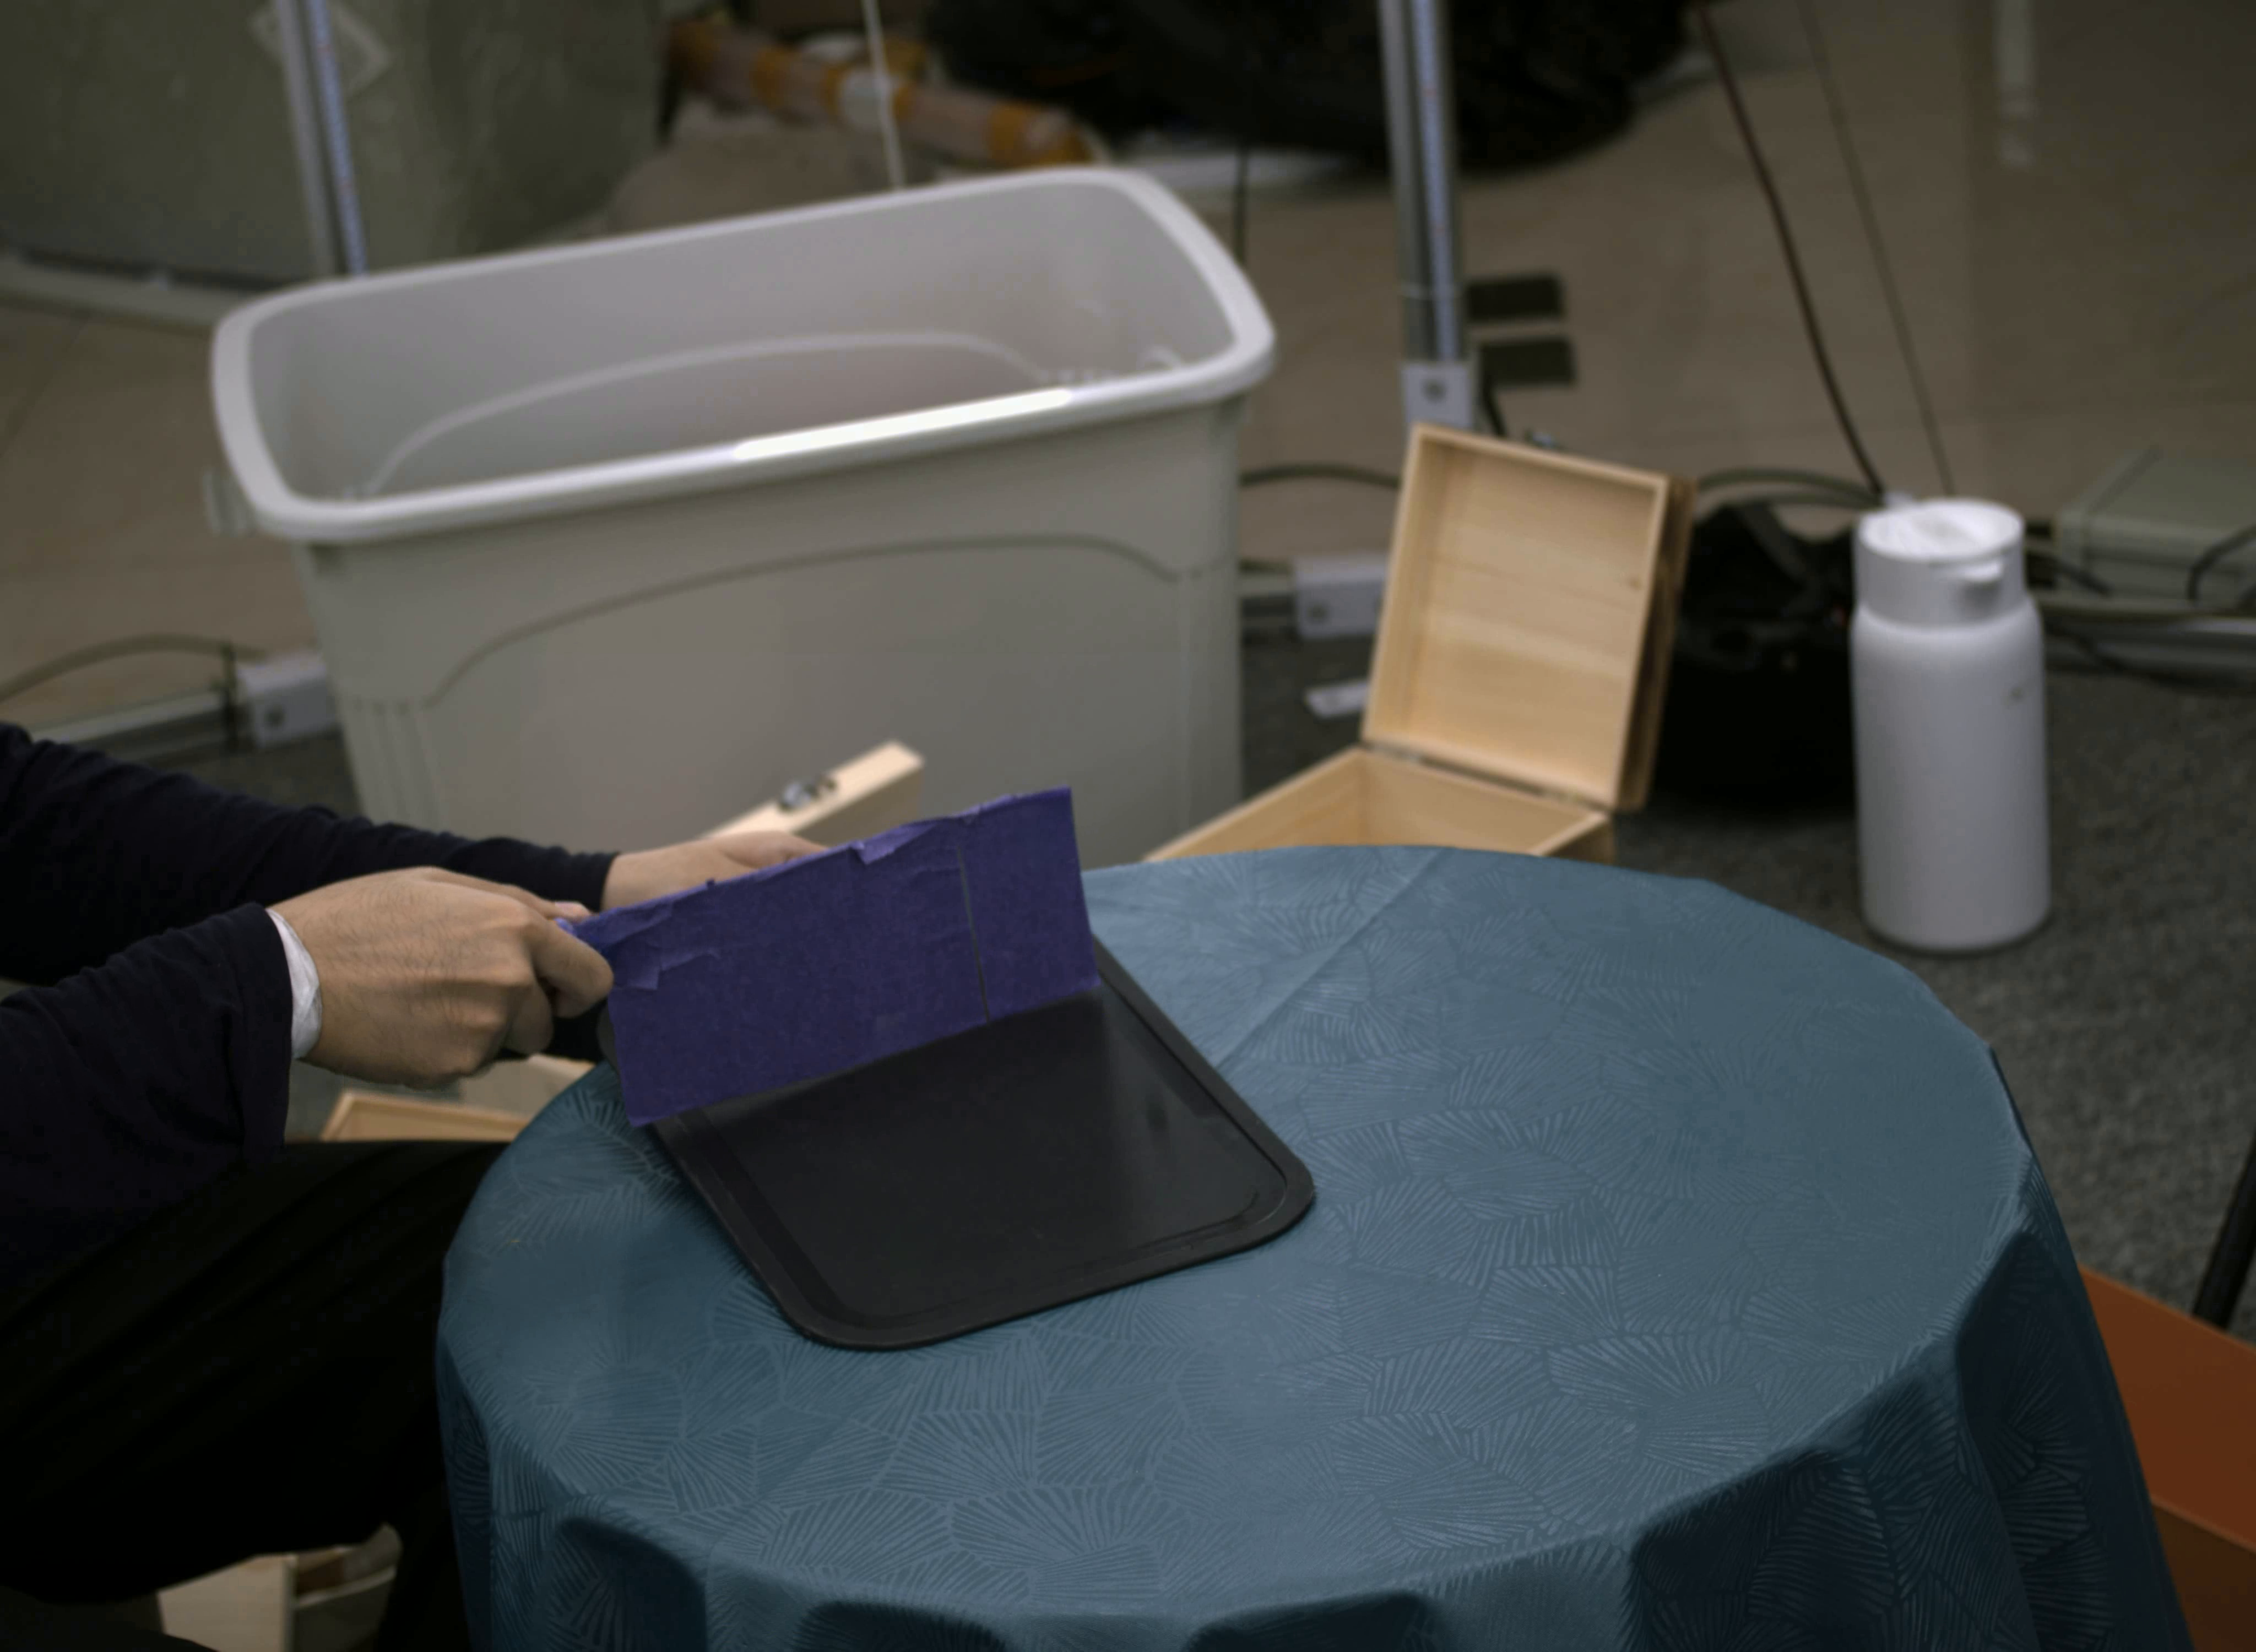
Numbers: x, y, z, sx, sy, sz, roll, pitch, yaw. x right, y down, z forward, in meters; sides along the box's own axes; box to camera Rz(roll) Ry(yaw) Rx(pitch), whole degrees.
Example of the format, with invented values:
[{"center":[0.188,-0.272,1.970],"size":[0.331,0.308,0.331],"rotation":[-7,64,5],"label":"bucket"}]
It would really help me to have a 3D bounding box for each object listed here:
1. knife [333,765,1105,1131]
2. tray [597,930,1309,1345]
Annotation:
[{"center":[-0.150,0.064,2.194],"size":[0.314,0.105,0.032],"rotation":[-16,21,-21],"label":"knife"},{"center":[-0.077,0.105,2.211],"size":[0.210,0.010,0.321],"rotation":[-14,30,-18],"label":"tray"}]
